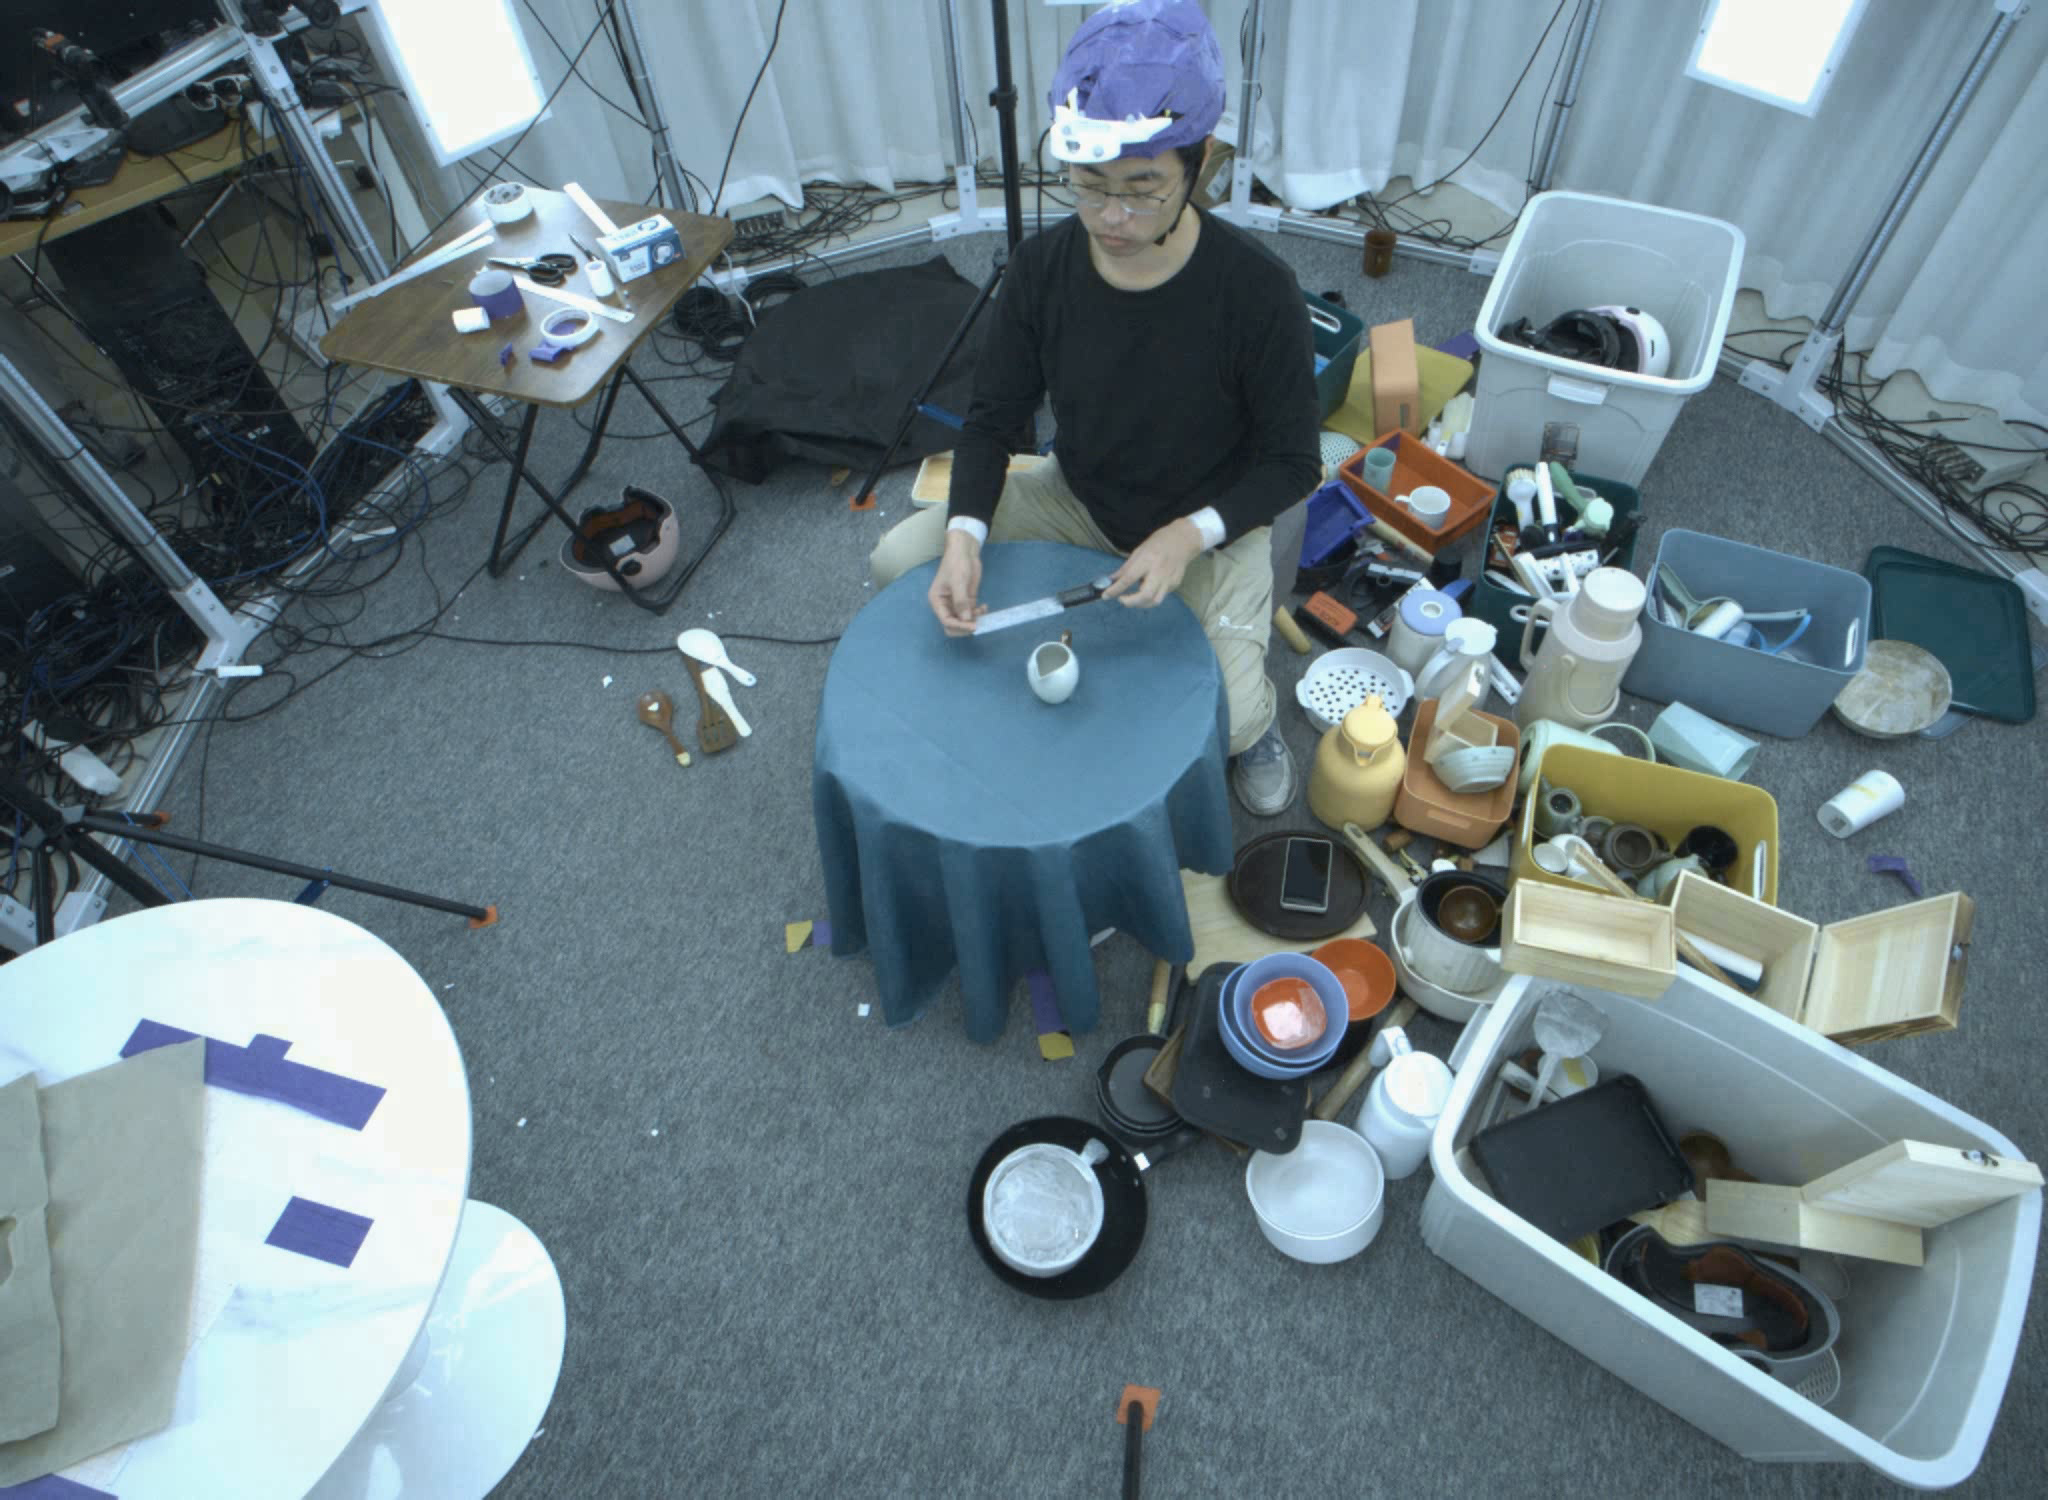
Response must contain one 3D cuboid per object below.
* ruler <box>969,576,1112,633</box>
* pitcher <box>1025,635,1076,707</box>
[{"bbox_3d":[0.023,-0.219,1.826,0.219,0.024,0.037,-15,43,-3],"label":"ruler"},{"bbox_3d":[0.043,-0.112,1.812,0.075,0.088,0.119,23,60,14],"label":"pitcher"}]
